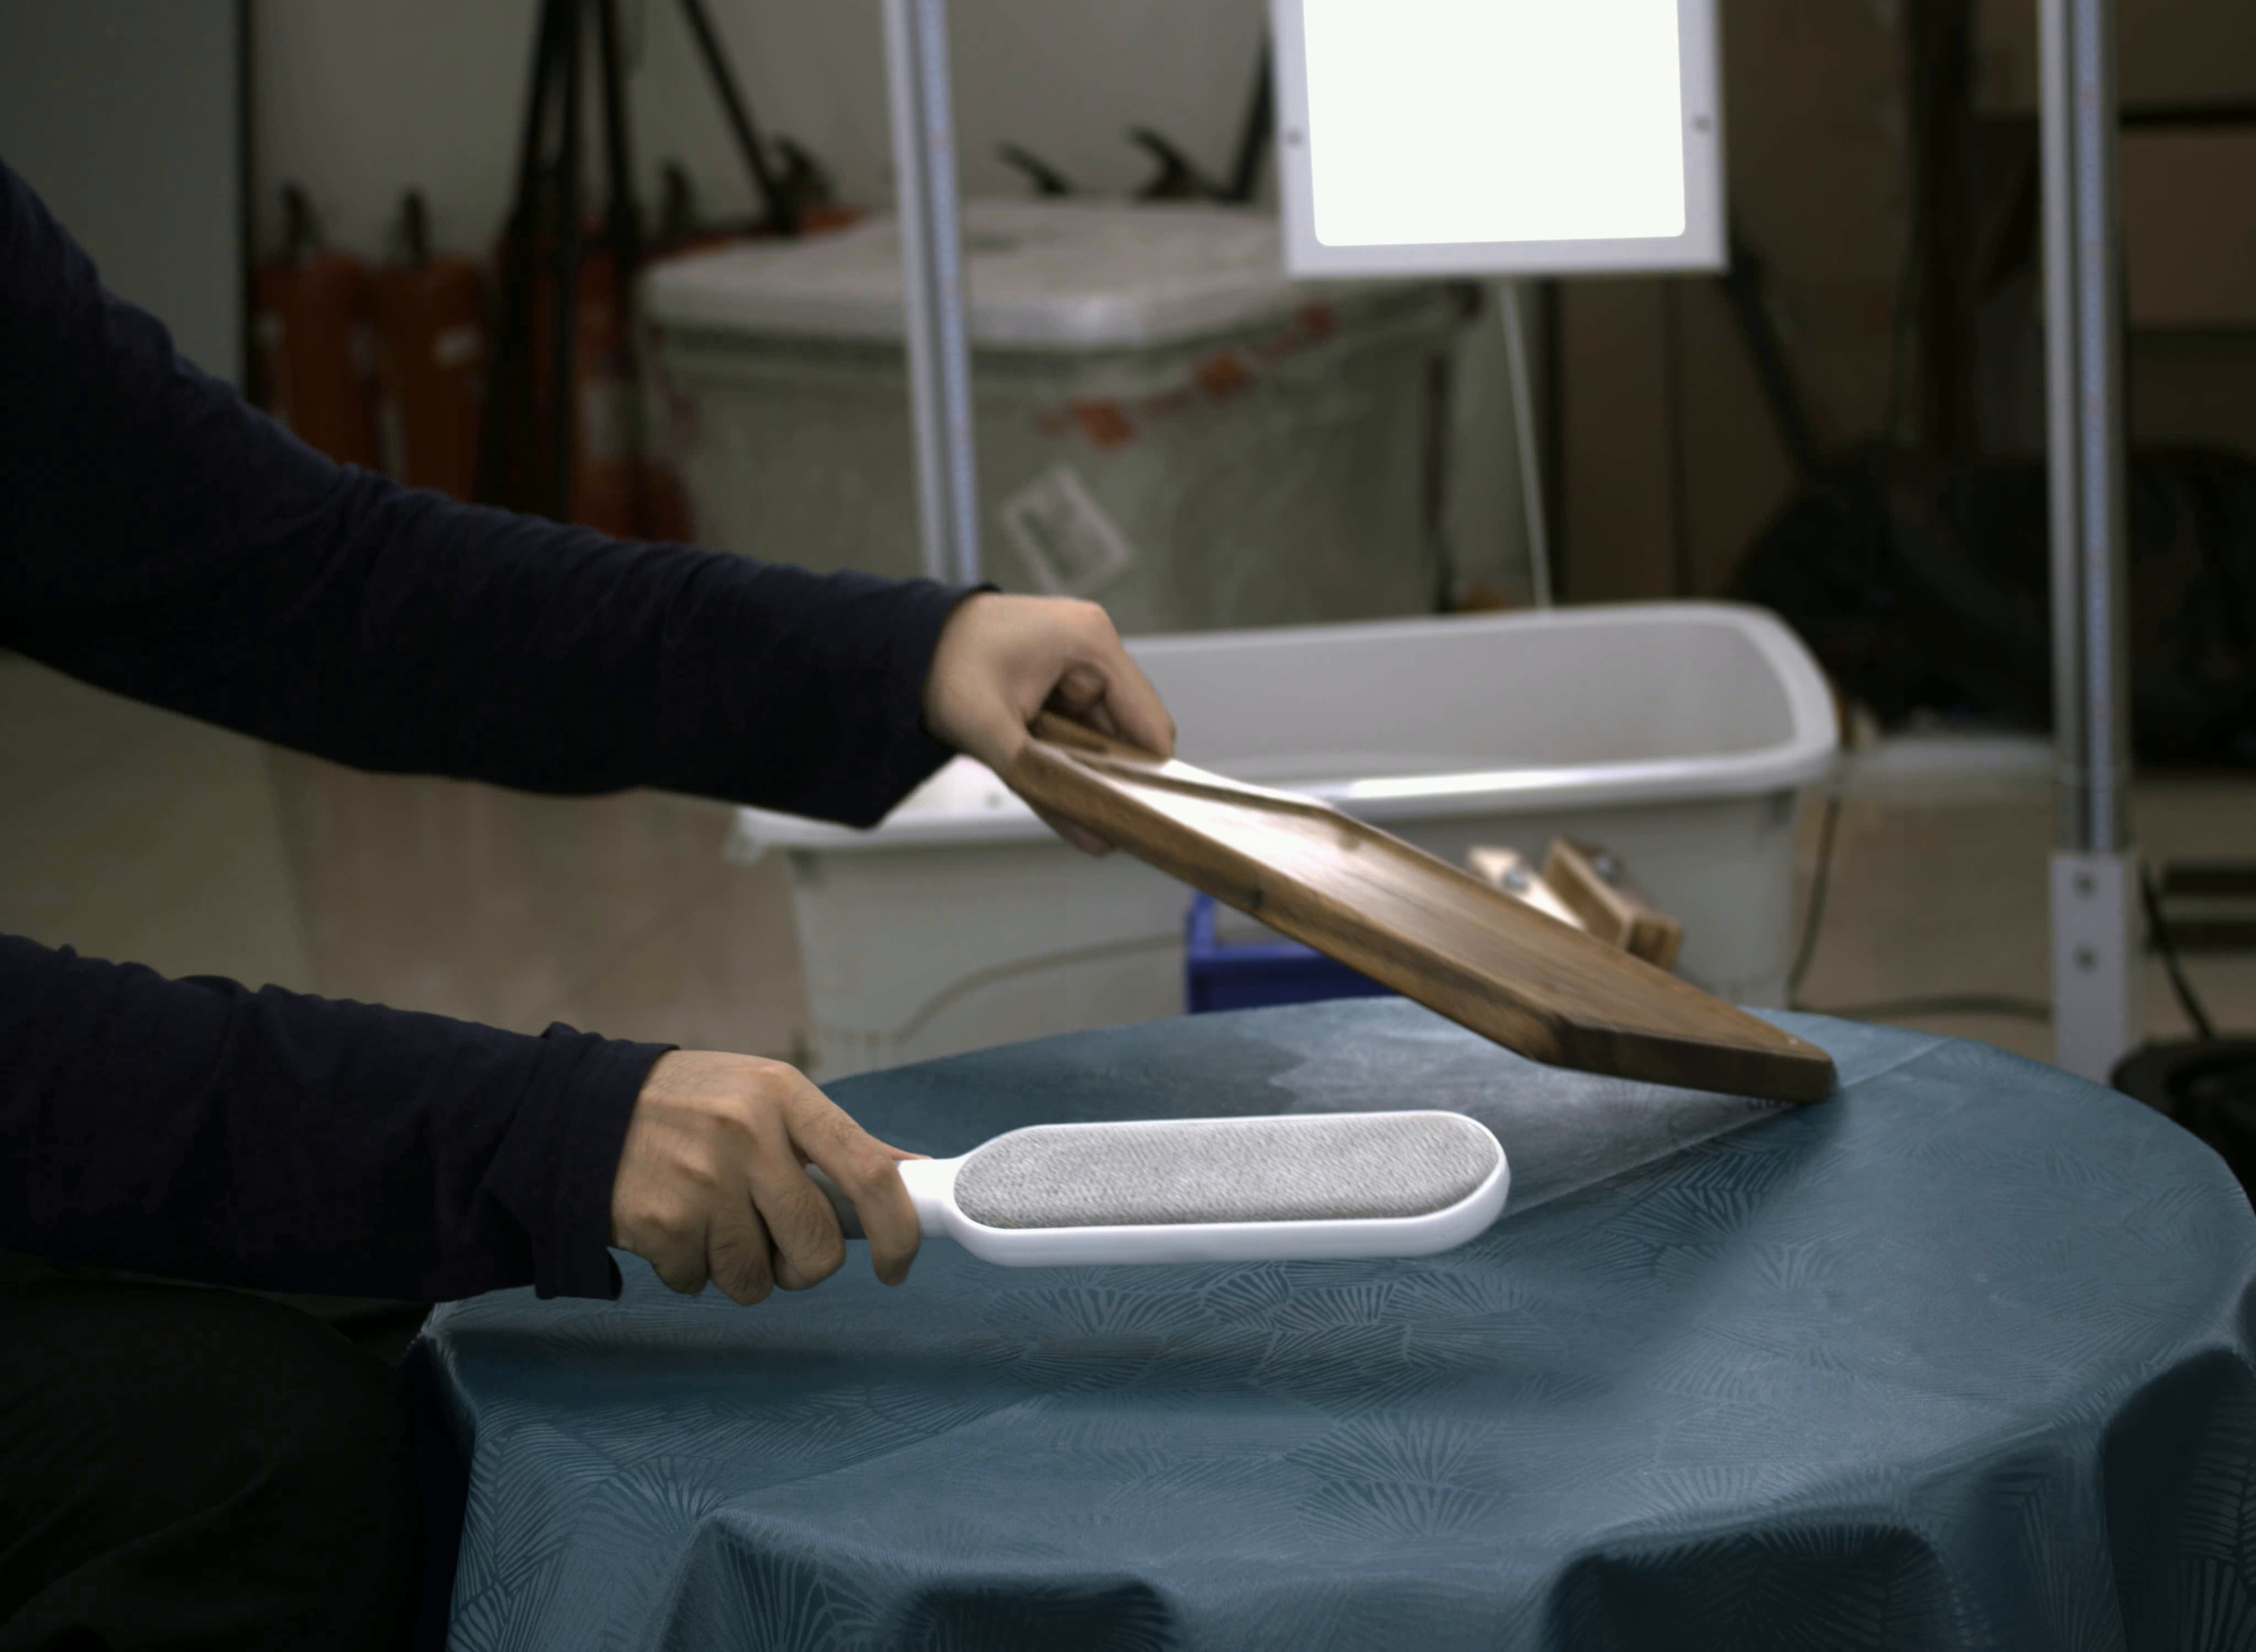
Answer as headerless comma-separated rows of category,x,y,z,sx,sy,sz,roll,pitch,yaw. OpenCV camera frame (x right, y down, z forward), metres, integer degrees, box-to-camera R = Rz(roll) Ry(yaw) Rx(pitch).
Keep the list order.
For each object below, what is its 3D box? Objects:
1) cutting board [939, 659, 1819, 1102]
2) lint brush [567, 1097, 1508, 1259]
cutting board,0.064,0.013,1.965,0.358,0.023,0.196,28,9,37
lint brush,-0.032,0.112,1.737,0.312,0.021,0.059,-3,41,18
